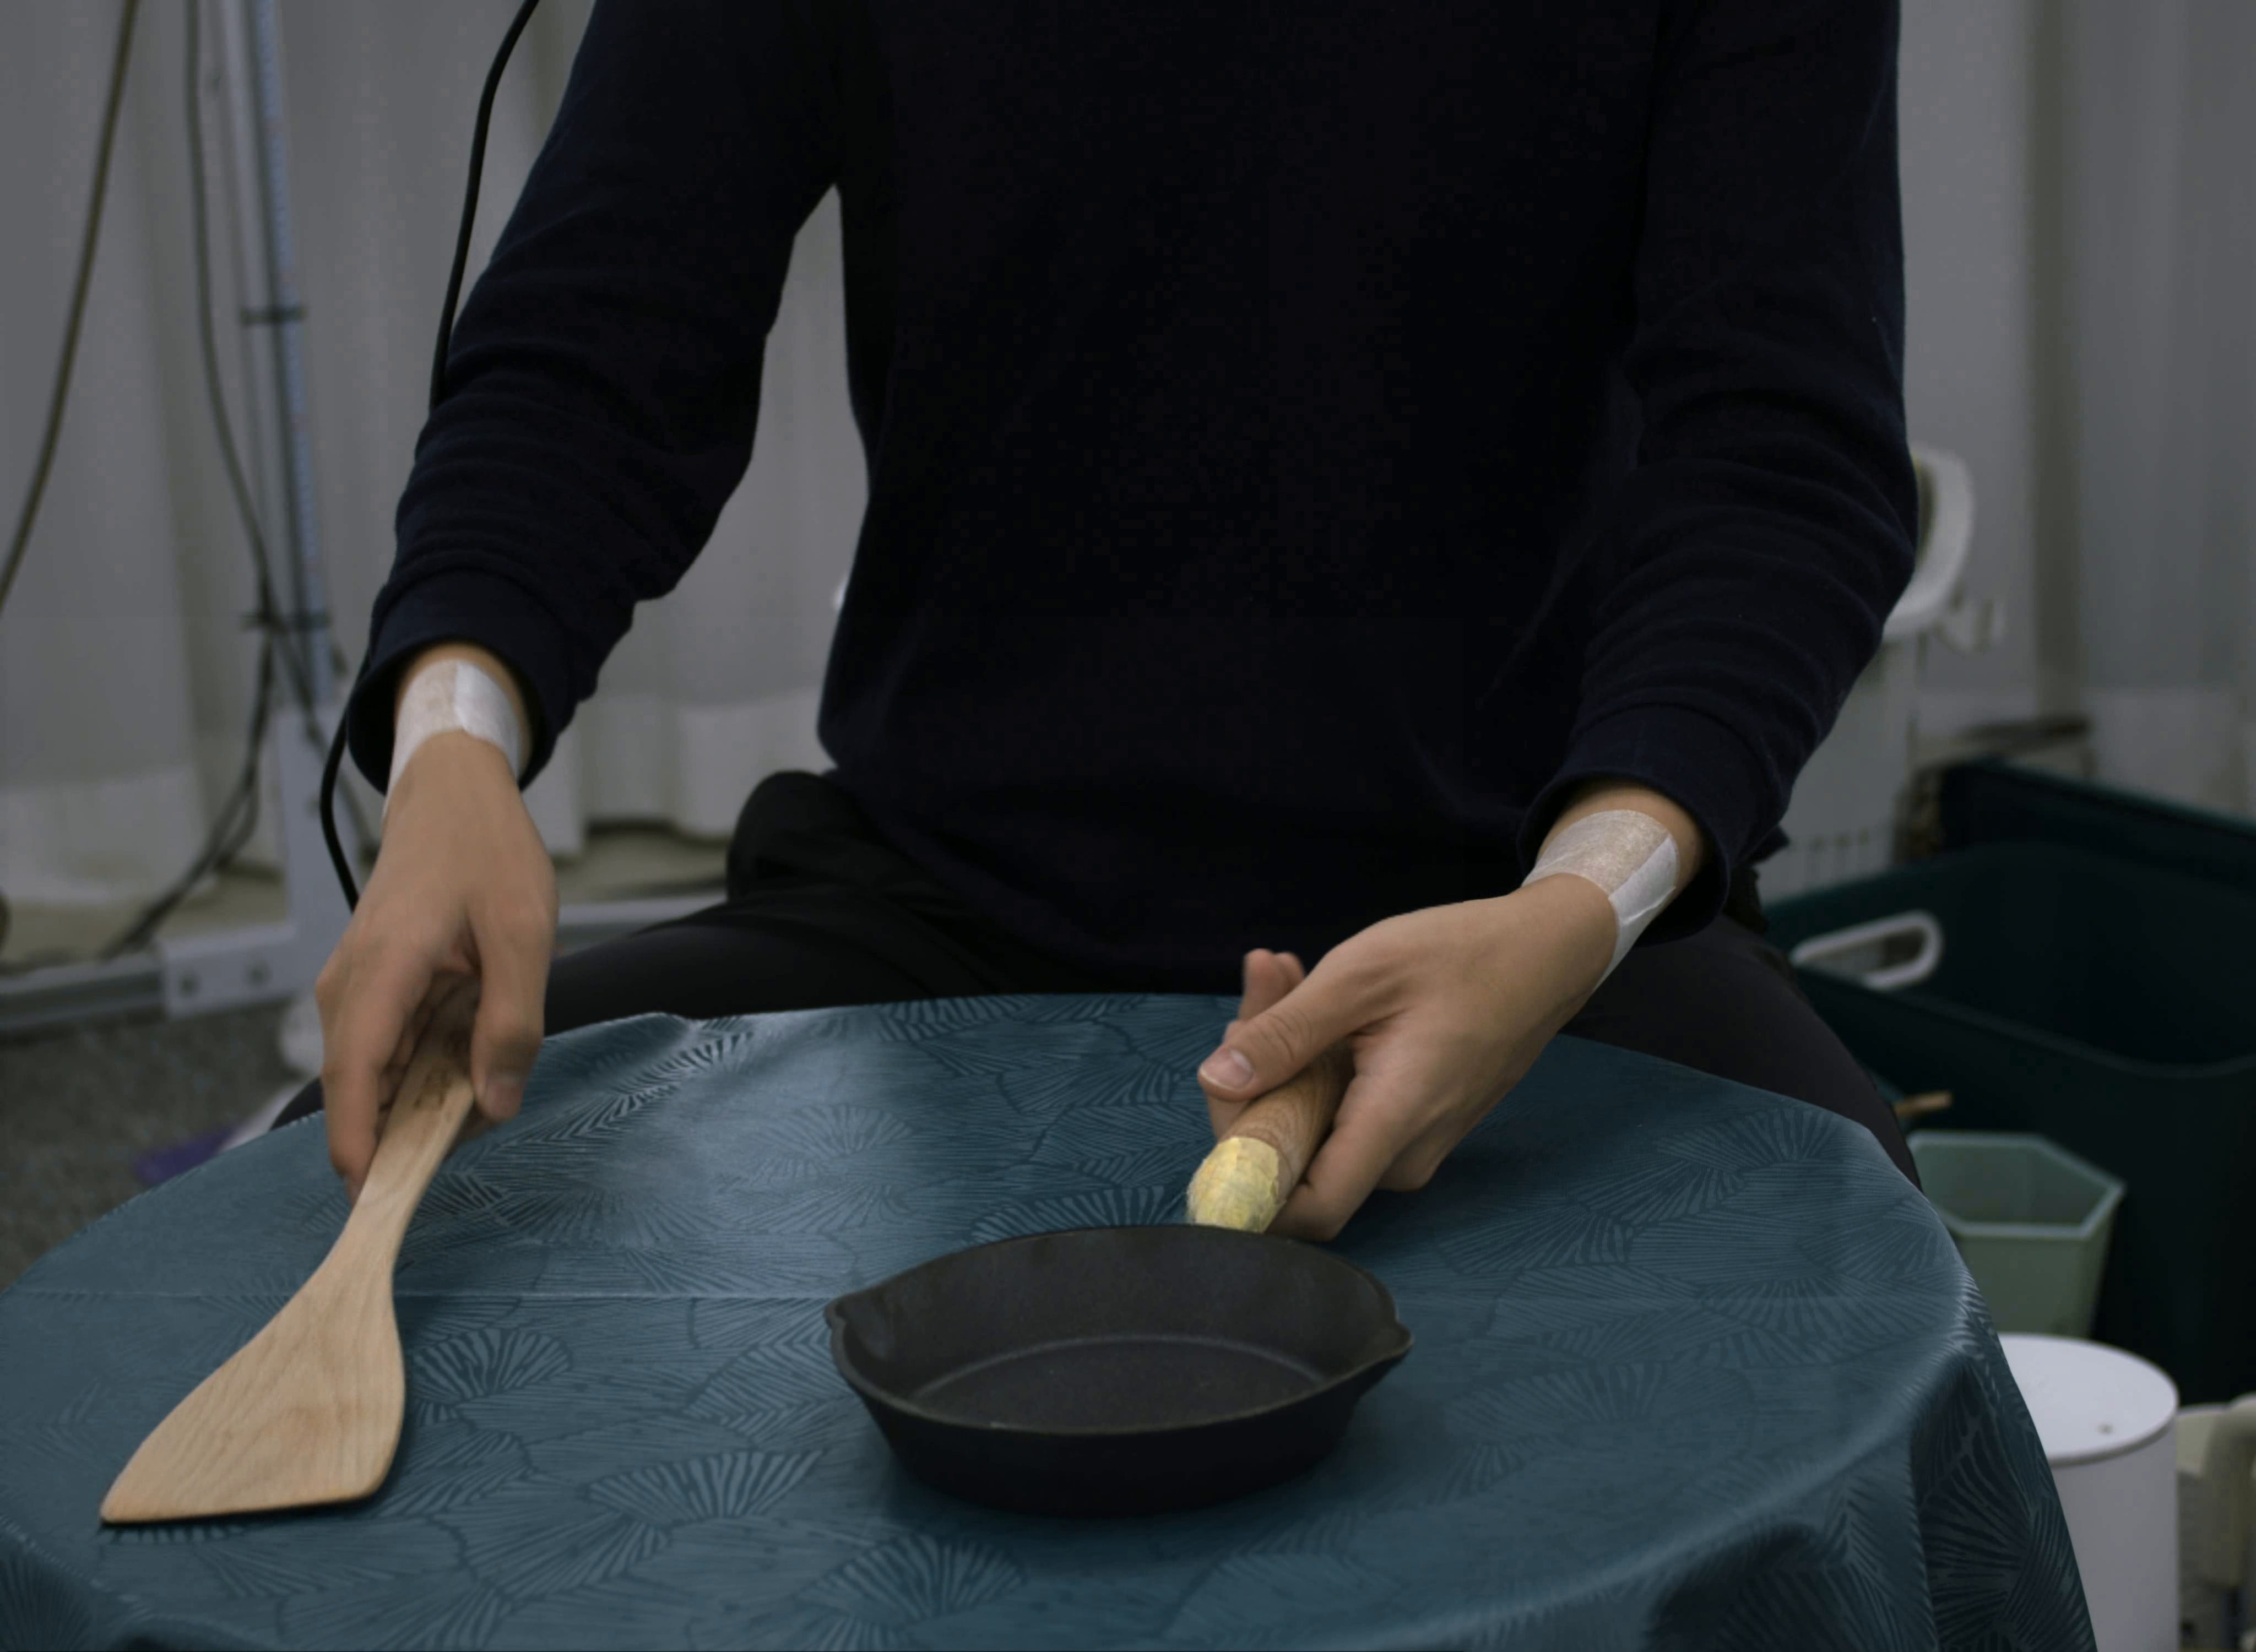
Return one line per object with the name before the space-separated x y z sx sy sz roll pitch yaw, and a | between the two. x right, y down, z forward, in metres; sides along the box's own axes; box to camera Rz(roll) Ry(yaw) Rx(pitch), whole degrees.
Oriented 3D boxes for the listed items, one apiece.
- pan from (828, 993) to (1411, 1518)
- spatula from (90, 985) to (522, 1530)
pan | 0.025 0.121 1.586 0.169 0.049 0.325 2 18 20
spatula | -0.225 0.123 1.624 0.080 0.016 0.331 -1 26 8
